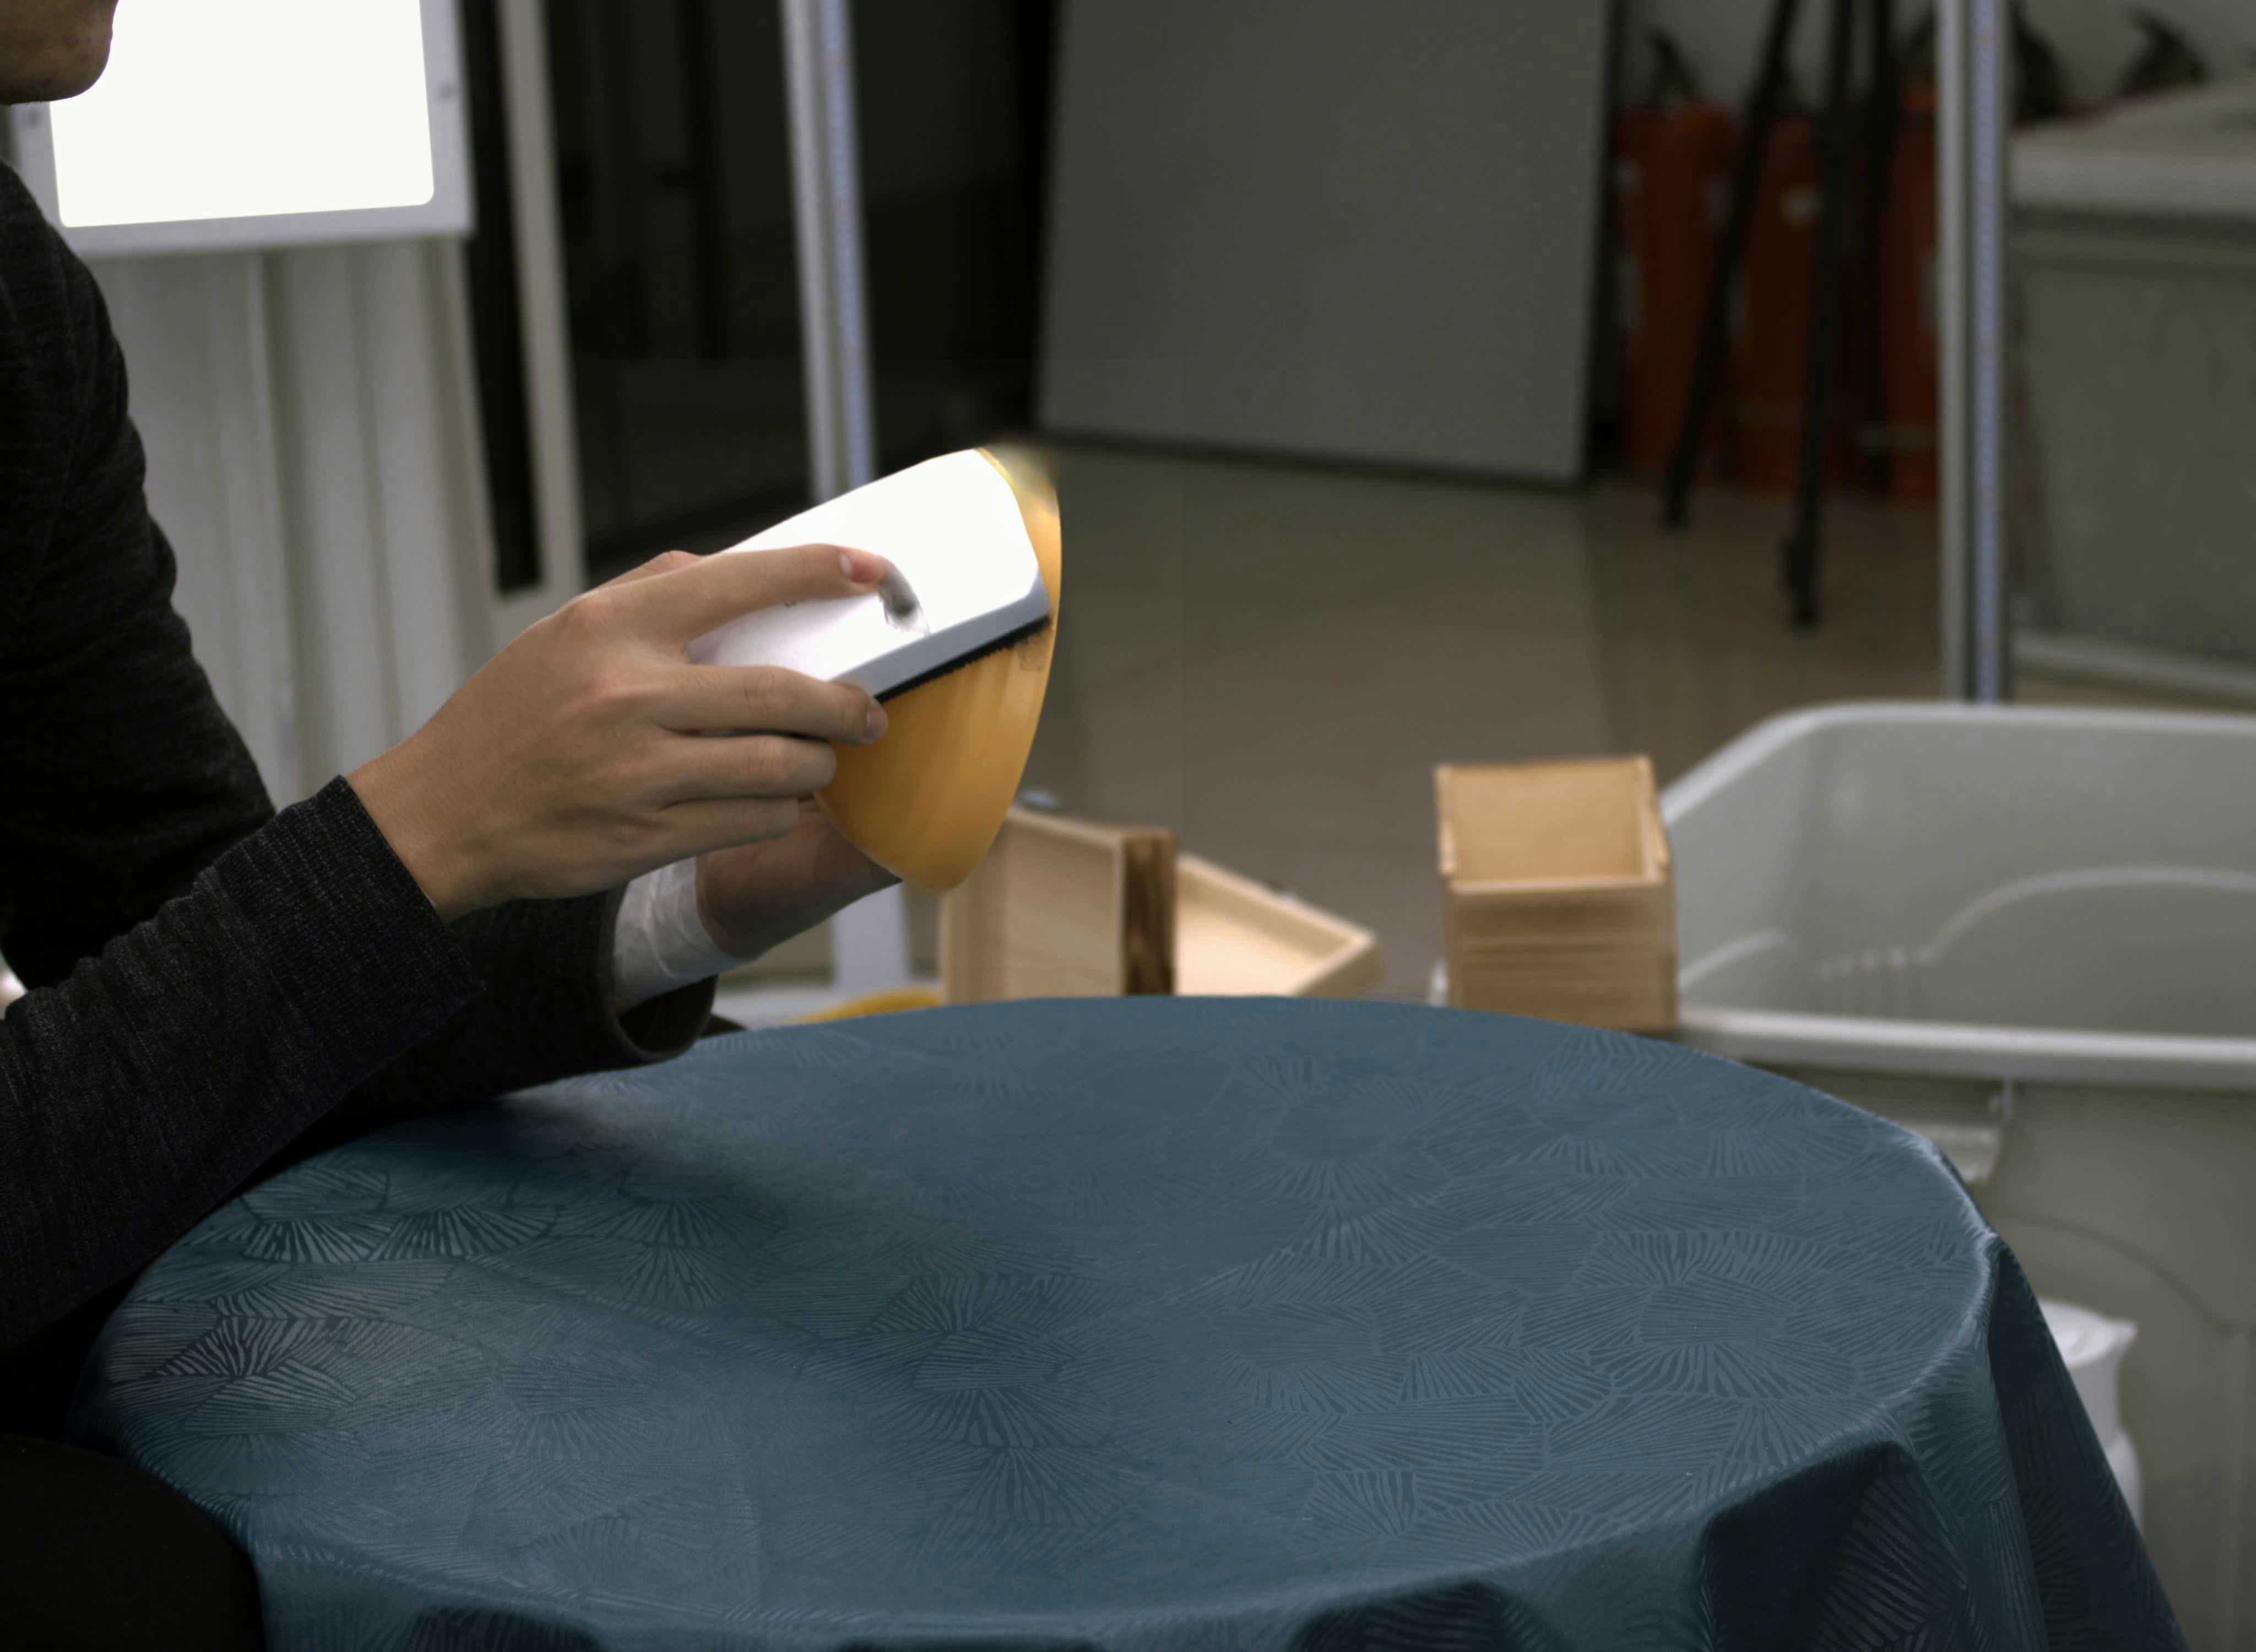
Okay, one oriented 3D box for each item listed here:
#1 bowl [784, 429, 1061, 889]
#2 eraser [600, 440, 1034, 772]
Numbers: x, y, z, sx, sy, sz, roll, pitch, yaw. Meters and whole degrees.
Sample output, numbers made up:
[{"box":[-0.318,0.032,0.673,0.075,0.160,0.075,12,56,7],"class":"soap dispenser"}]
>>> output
[{"box":[-0.072,-0.057,1.687,0.059,0.147,0.146,10,9,-18],"class":"bowl"},{"box":[-0.093,-0.068,1.622,0.130,0.034,0.064,-25,54,2],"class":"eraser"}]
